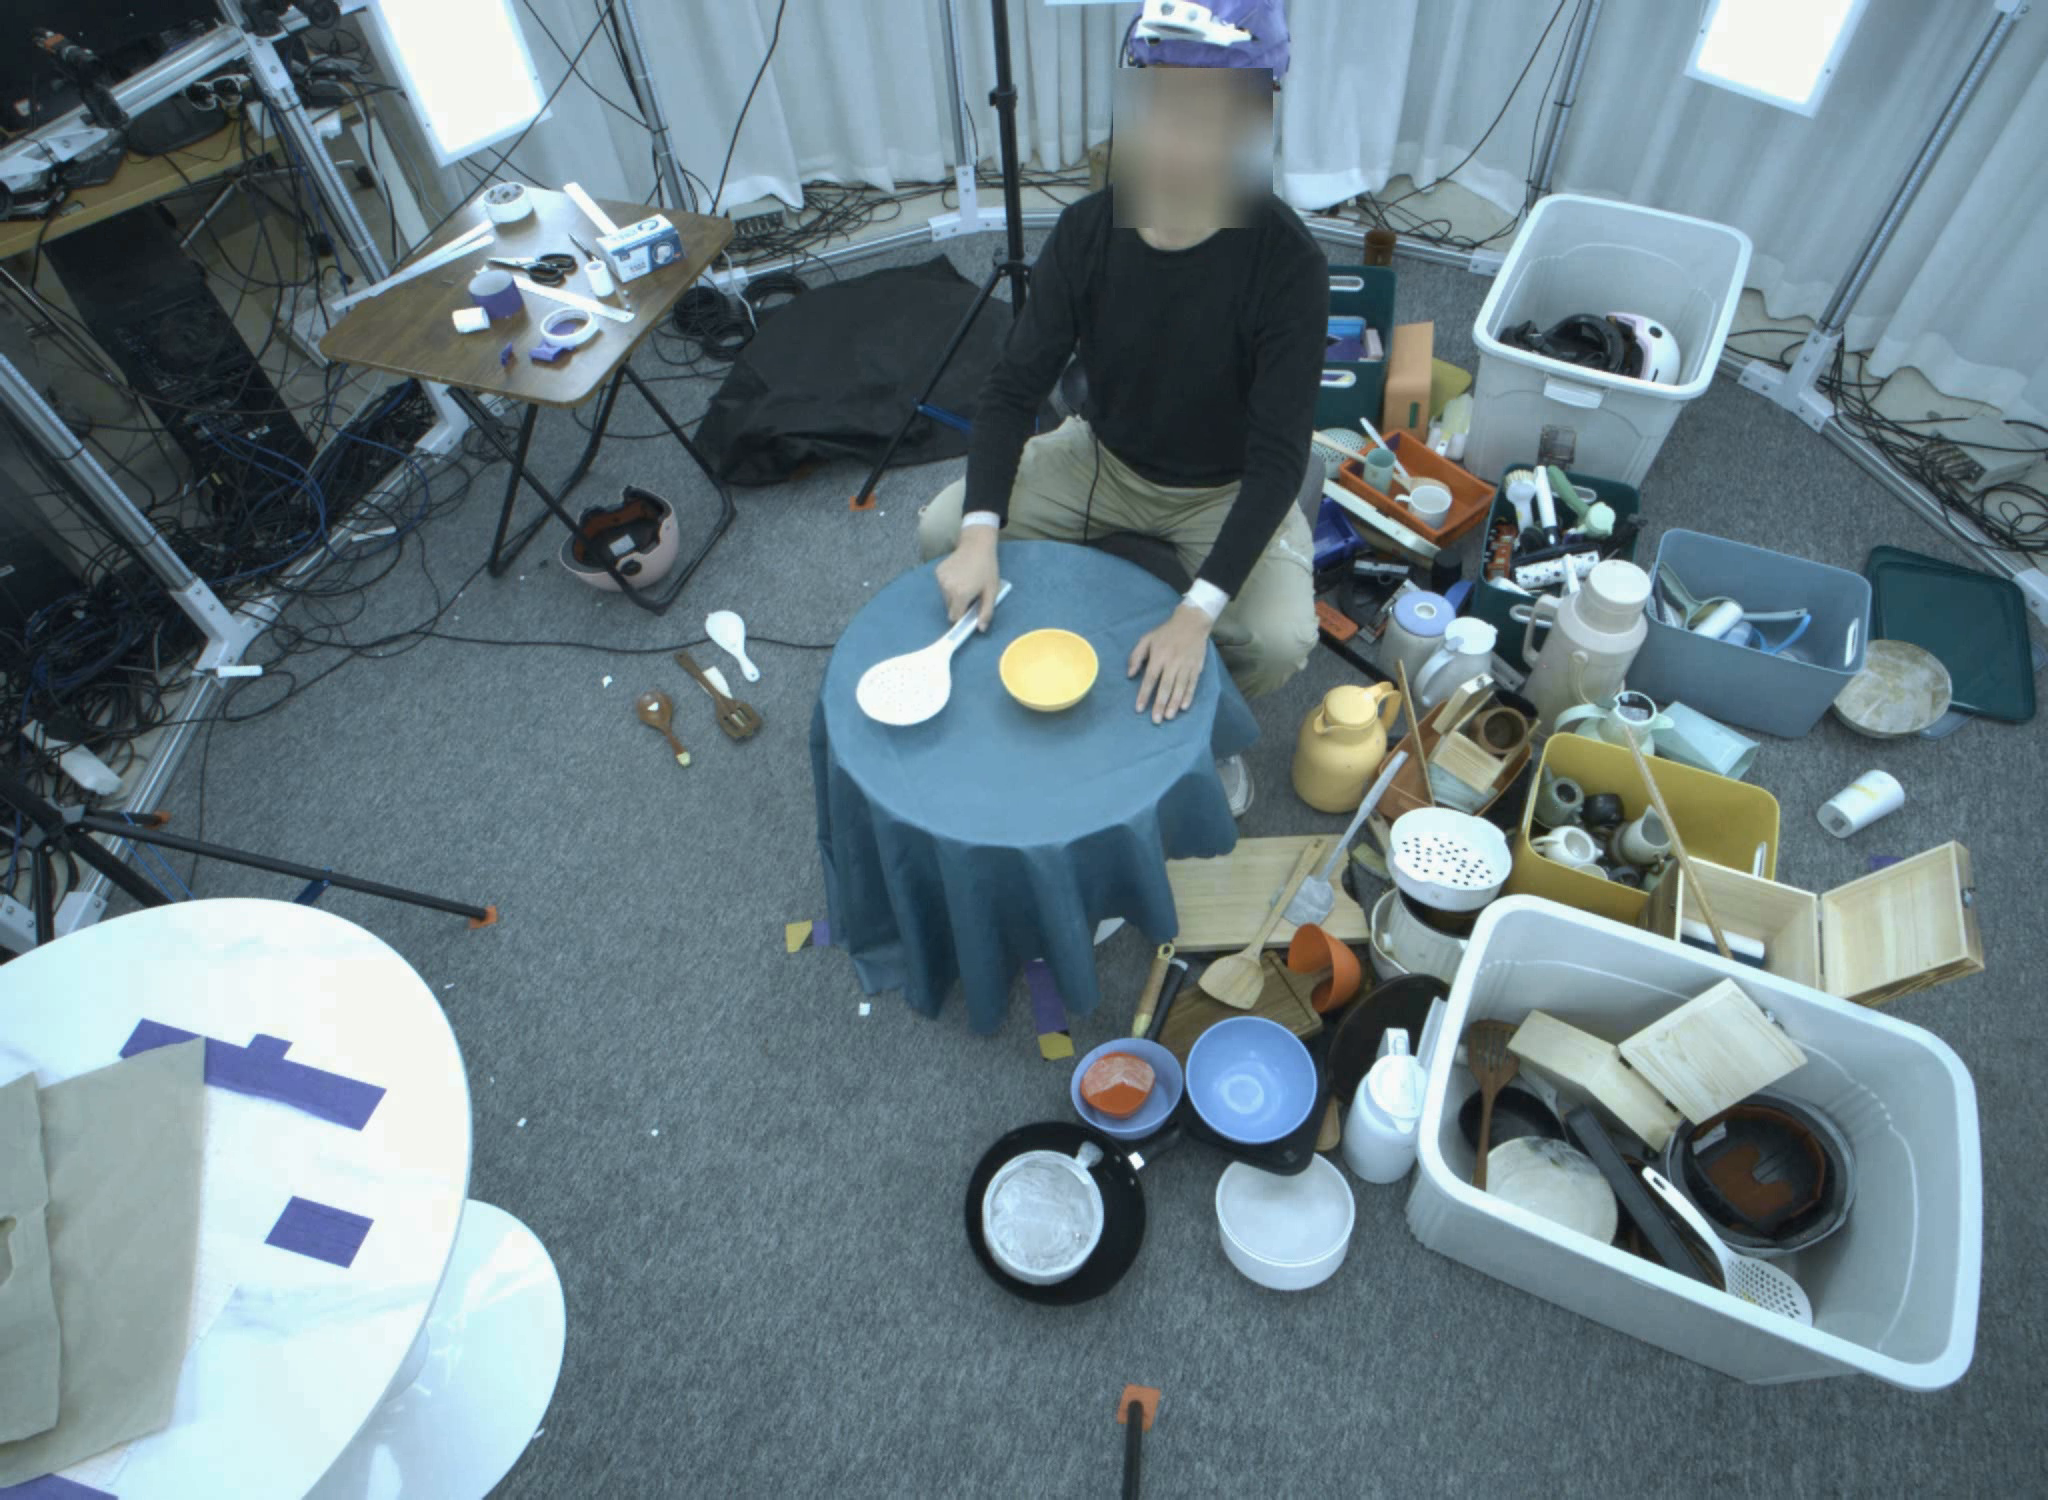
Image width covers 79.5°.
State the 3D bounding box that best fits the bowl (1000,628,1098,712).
[{"bbox_3d":[0.037,-0.108,1.828,0.145,0.061,0.144,0,56,1],"label":"bowl"}]

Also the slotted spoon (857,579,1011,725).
[{"bbox_3d":[-0.123,-0.155,1.873,0.134,0.046,0.351,24,58,19],"label":"slotted spoon"}]
